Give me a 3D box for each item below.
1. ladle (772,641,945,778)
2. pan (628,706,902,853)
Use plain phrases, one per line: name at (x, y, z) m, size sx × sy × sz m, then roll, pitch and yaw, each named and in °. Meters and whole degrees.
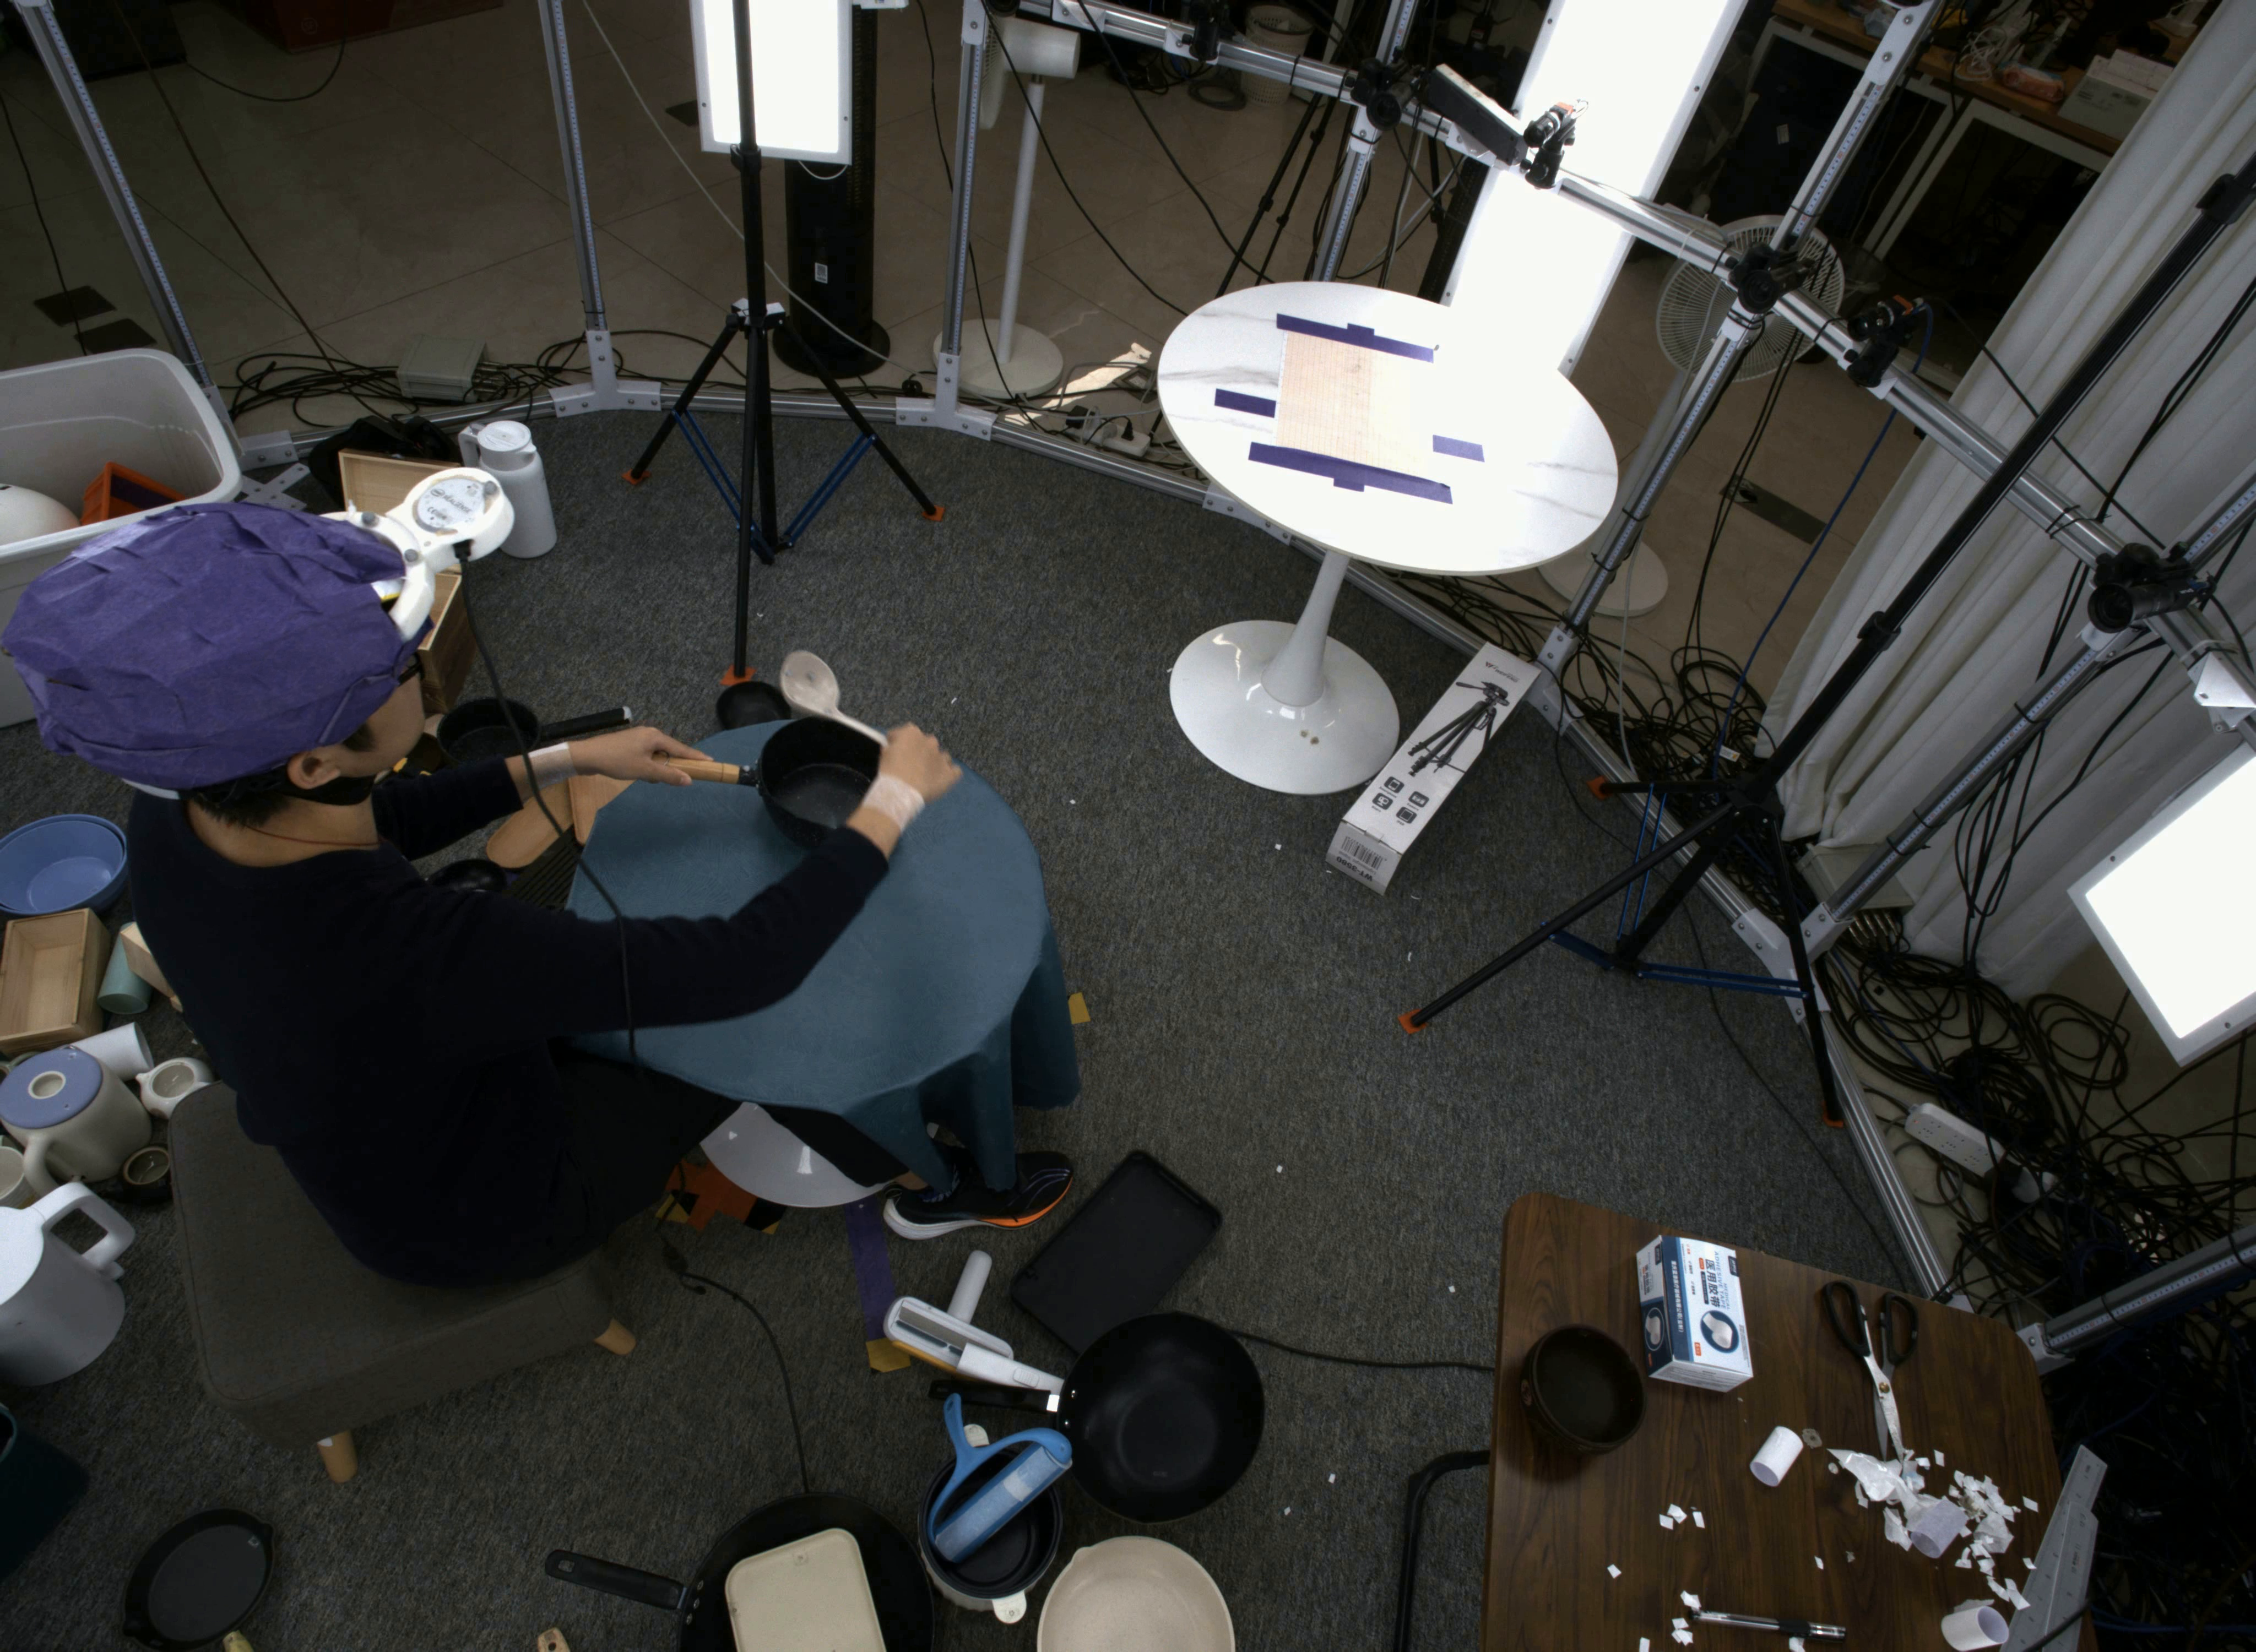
ladle at (-0.312, -0.141, 1.533) m, size 0.266 × 0.070 × 0.090 m, roll 26°, pitch 18°, yaw 24°
pan at (-0.466, -0.057, 1.665) m, size 0.345 × 0.110 × 0.203 m, roll -1°, pitch 55°, yaw -21°
